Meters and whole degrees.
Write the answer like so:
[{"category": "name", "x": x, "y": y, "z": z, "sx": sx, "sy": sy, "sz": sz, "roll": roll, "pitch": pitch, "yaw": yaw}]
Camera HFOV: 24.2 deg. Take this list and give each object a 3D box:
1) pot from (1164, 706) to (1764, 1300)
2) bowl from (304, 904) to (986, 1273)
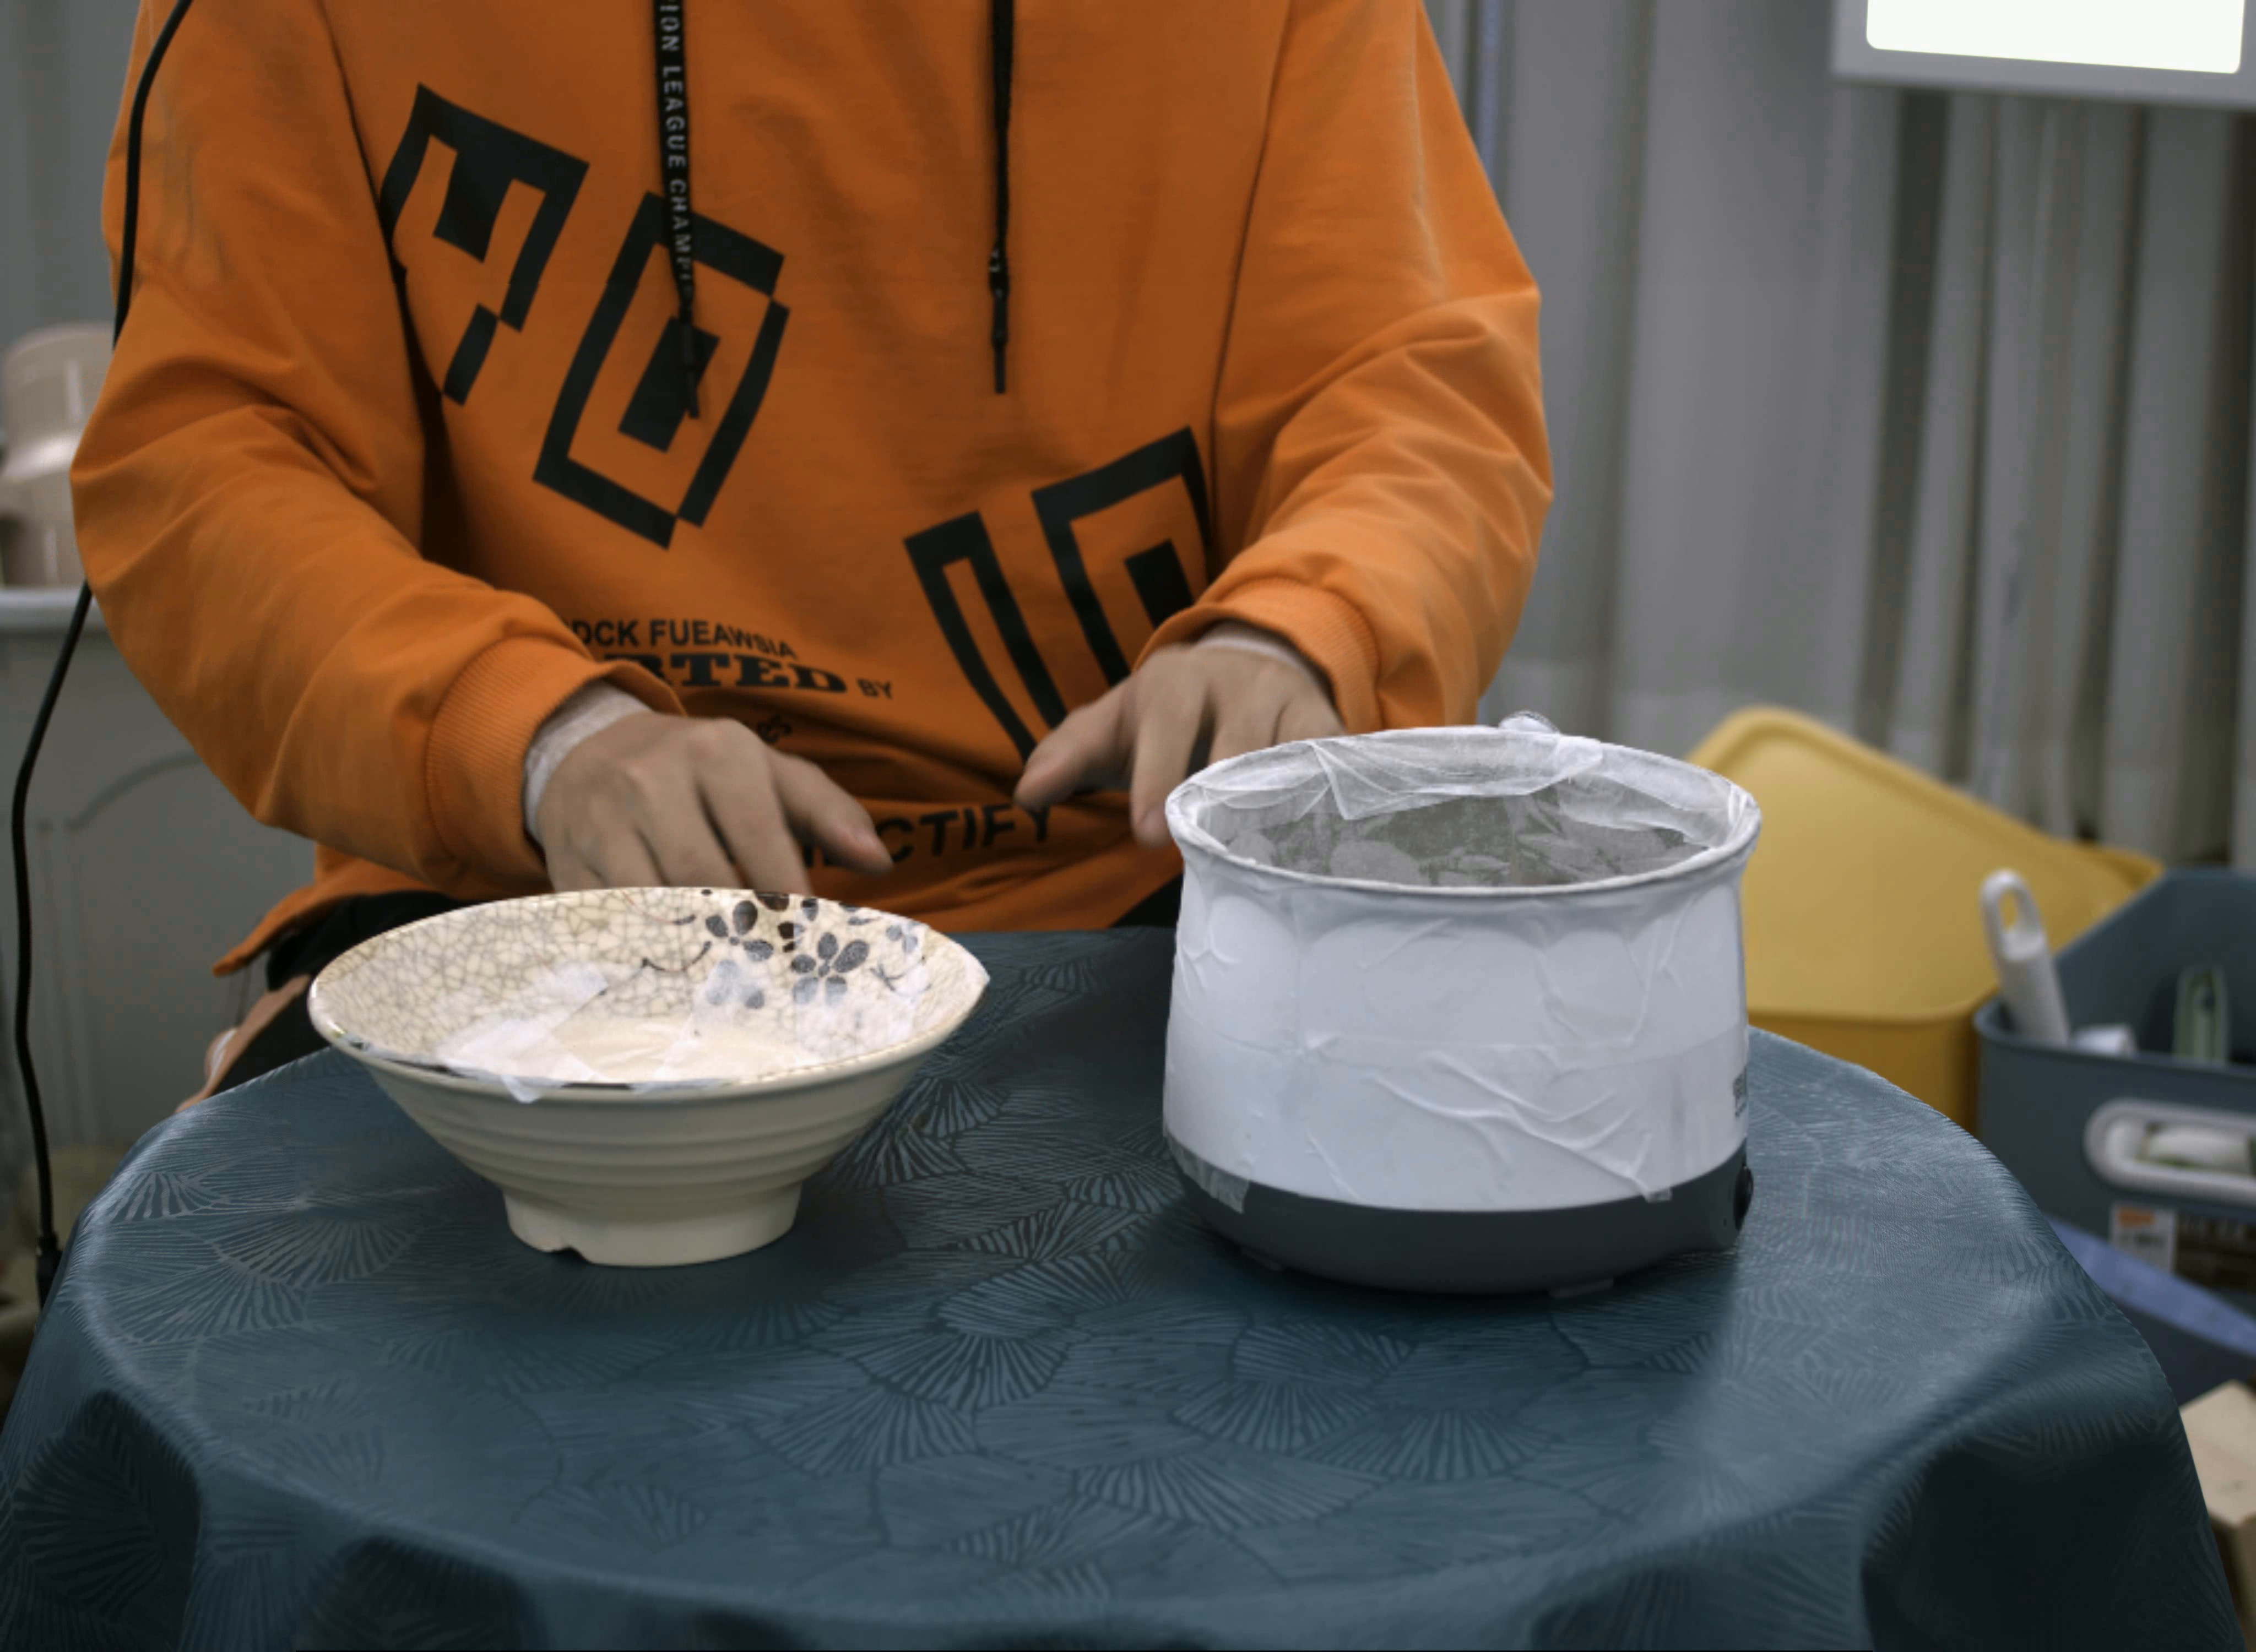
[{"category": "pot", "x": 0.105, "y": 0.047, "z": 1.601, "sx": 0.177, "sy": 0.138, "sz": 0.233, "roll": 5, "pitch": 17, "yaw": 12}, {"category": "bowl", "x": -0.143, "y": 0.084, "z": 1.581, "sx": 0.203, "sy": 0.078, "sz": 0.203, "roll": 0, "pitch": 13, "yaw": 1}]
